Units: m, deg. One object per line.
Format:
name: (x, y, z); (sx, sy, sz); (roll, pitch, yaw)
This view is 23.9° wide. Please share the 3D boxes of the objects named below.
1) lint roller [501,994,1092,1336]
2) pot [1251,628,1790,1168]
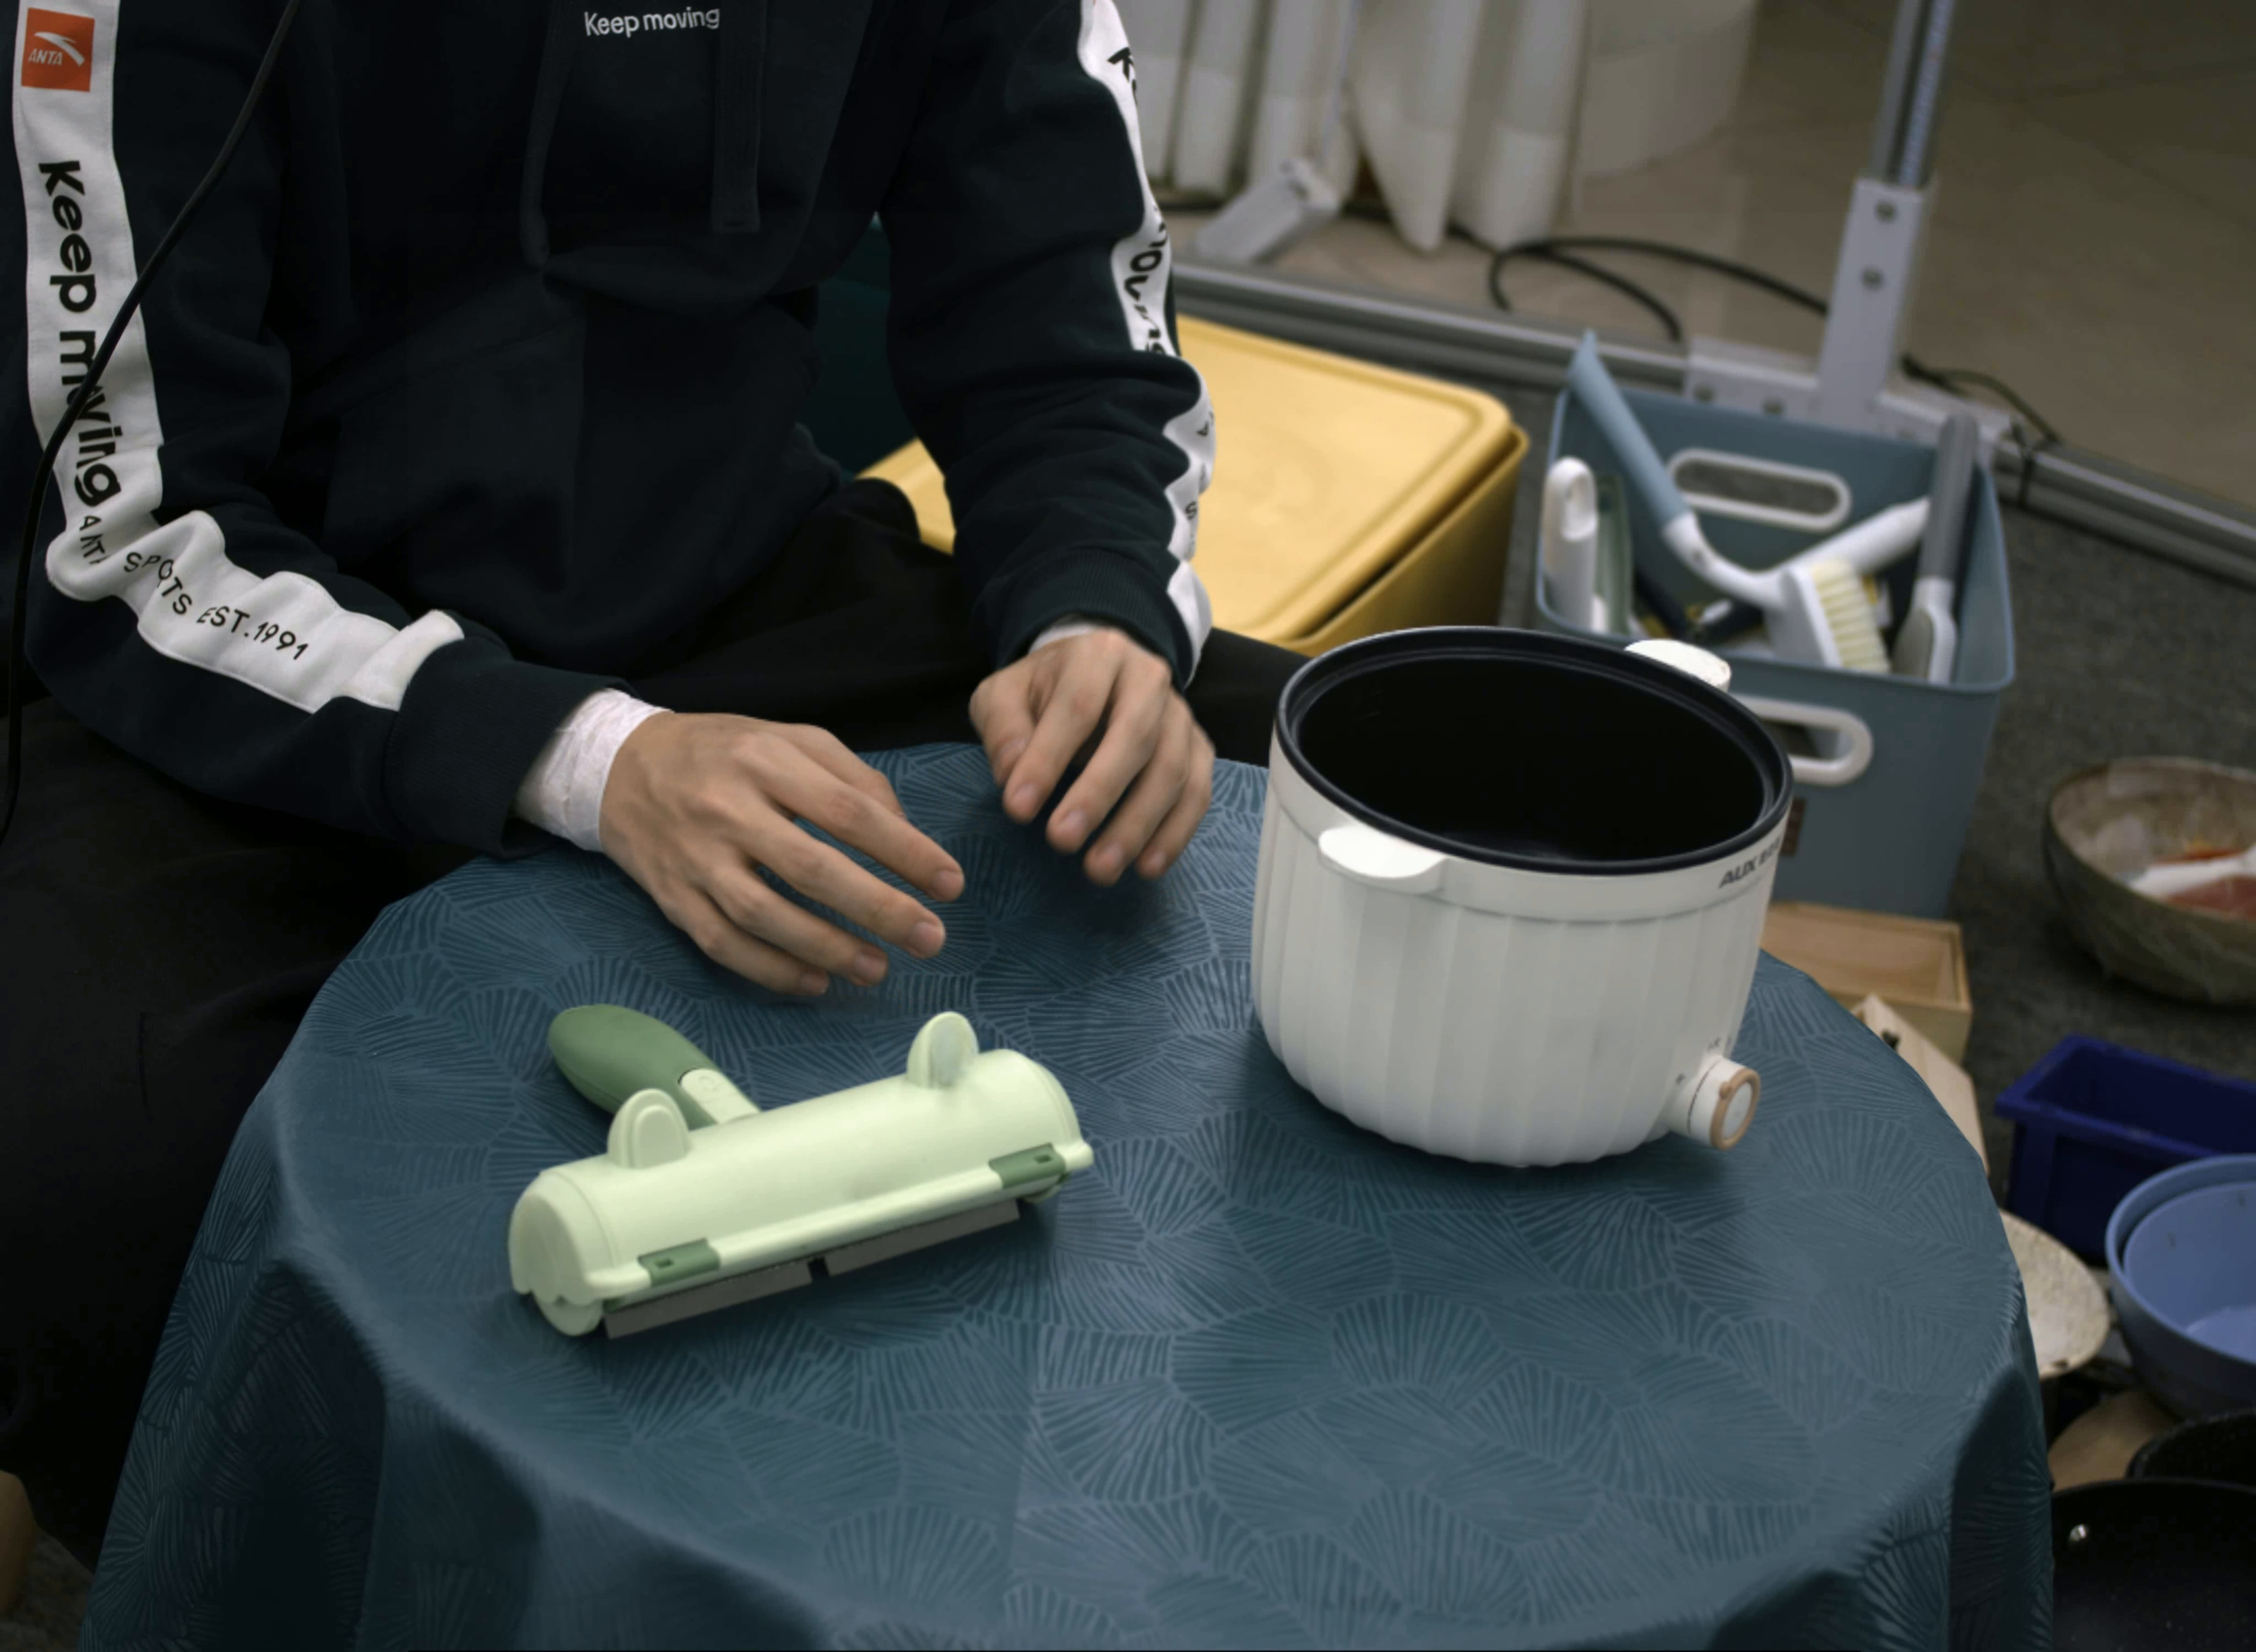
lint roller: (-0.138, 0.084, 1.762); (0.197, 0.082, 0.185); (-13, 38, -33)
pot: (0.138, 0.031, 1.861); (0.191, 0.142, 0.240); (19, 30, 30)
